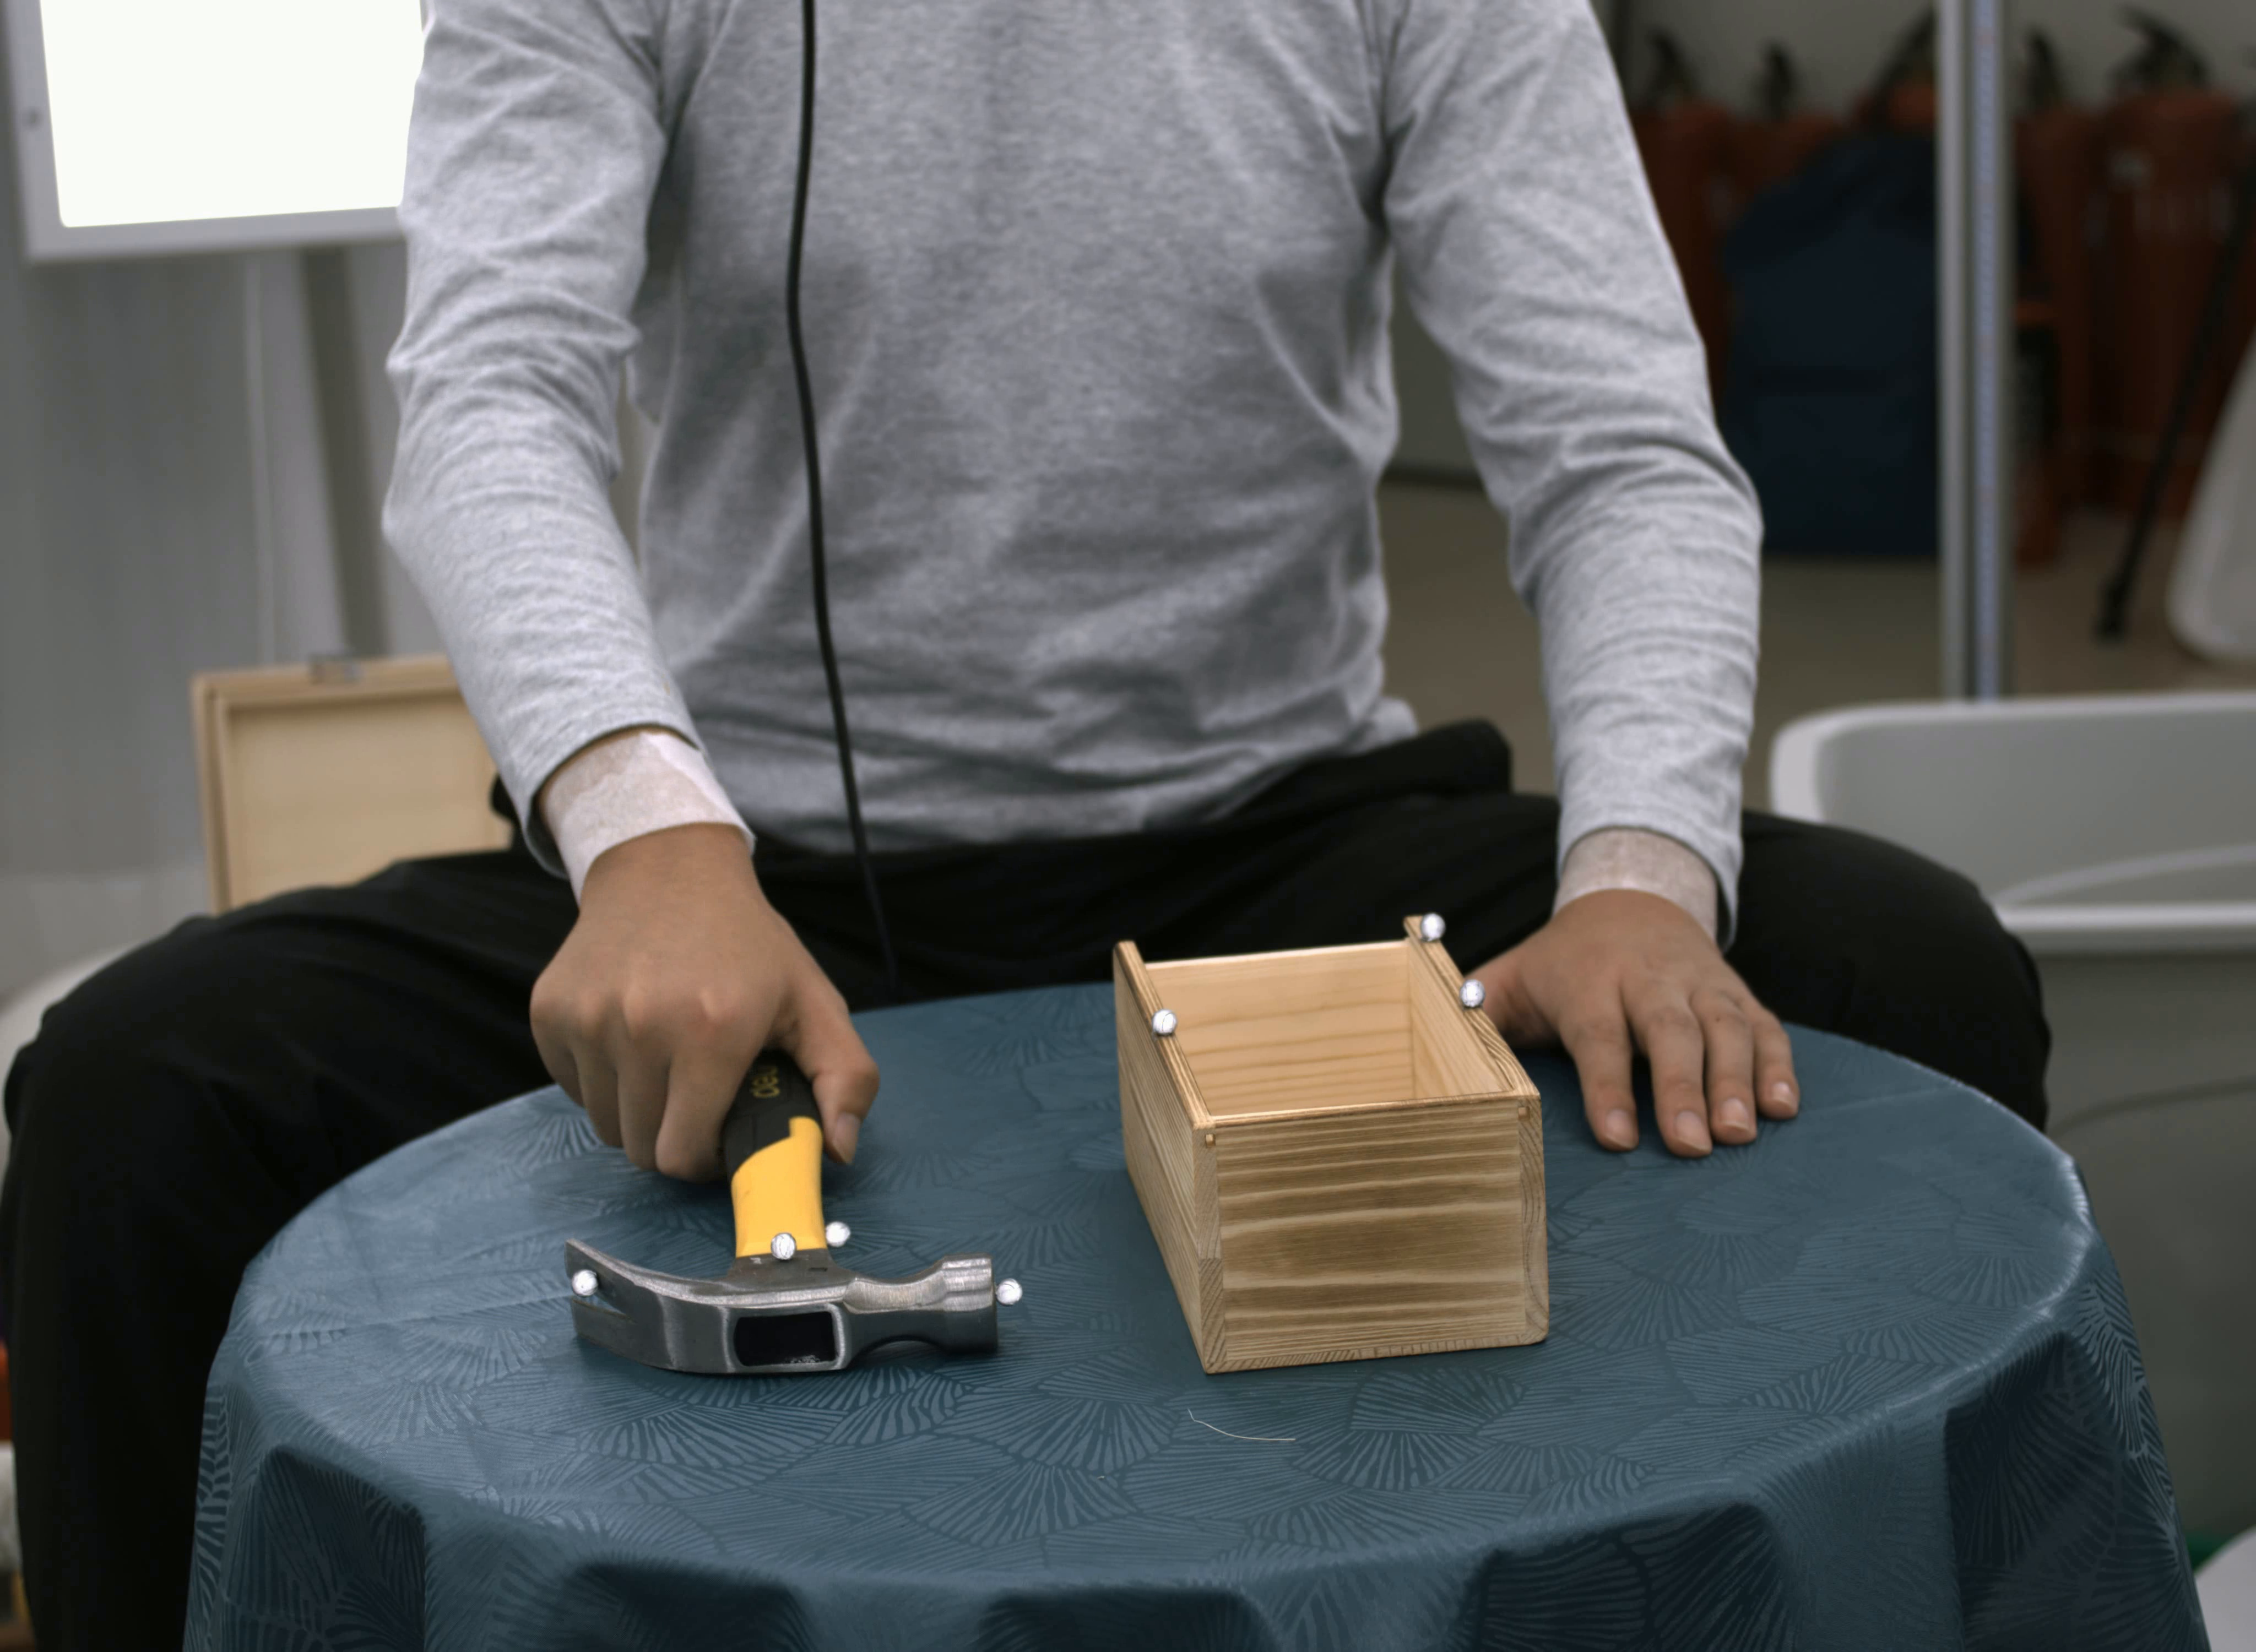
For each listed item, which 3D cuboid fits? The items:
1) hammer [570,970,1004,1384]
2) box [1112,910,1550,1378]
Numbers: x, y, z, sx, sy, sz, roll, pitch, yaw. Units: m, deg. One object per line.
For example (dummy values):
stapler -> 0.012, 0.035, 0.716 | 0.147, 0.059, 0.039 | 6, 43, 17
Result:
hammer -> -0.115, 0.108, 1.775 | 0.129, 0.032, 0.339 | -7, 16, -2
box -> 0.061, 0.096, 1.691 | 0.106, 0.081, 0.212 | -6, 14, -5
